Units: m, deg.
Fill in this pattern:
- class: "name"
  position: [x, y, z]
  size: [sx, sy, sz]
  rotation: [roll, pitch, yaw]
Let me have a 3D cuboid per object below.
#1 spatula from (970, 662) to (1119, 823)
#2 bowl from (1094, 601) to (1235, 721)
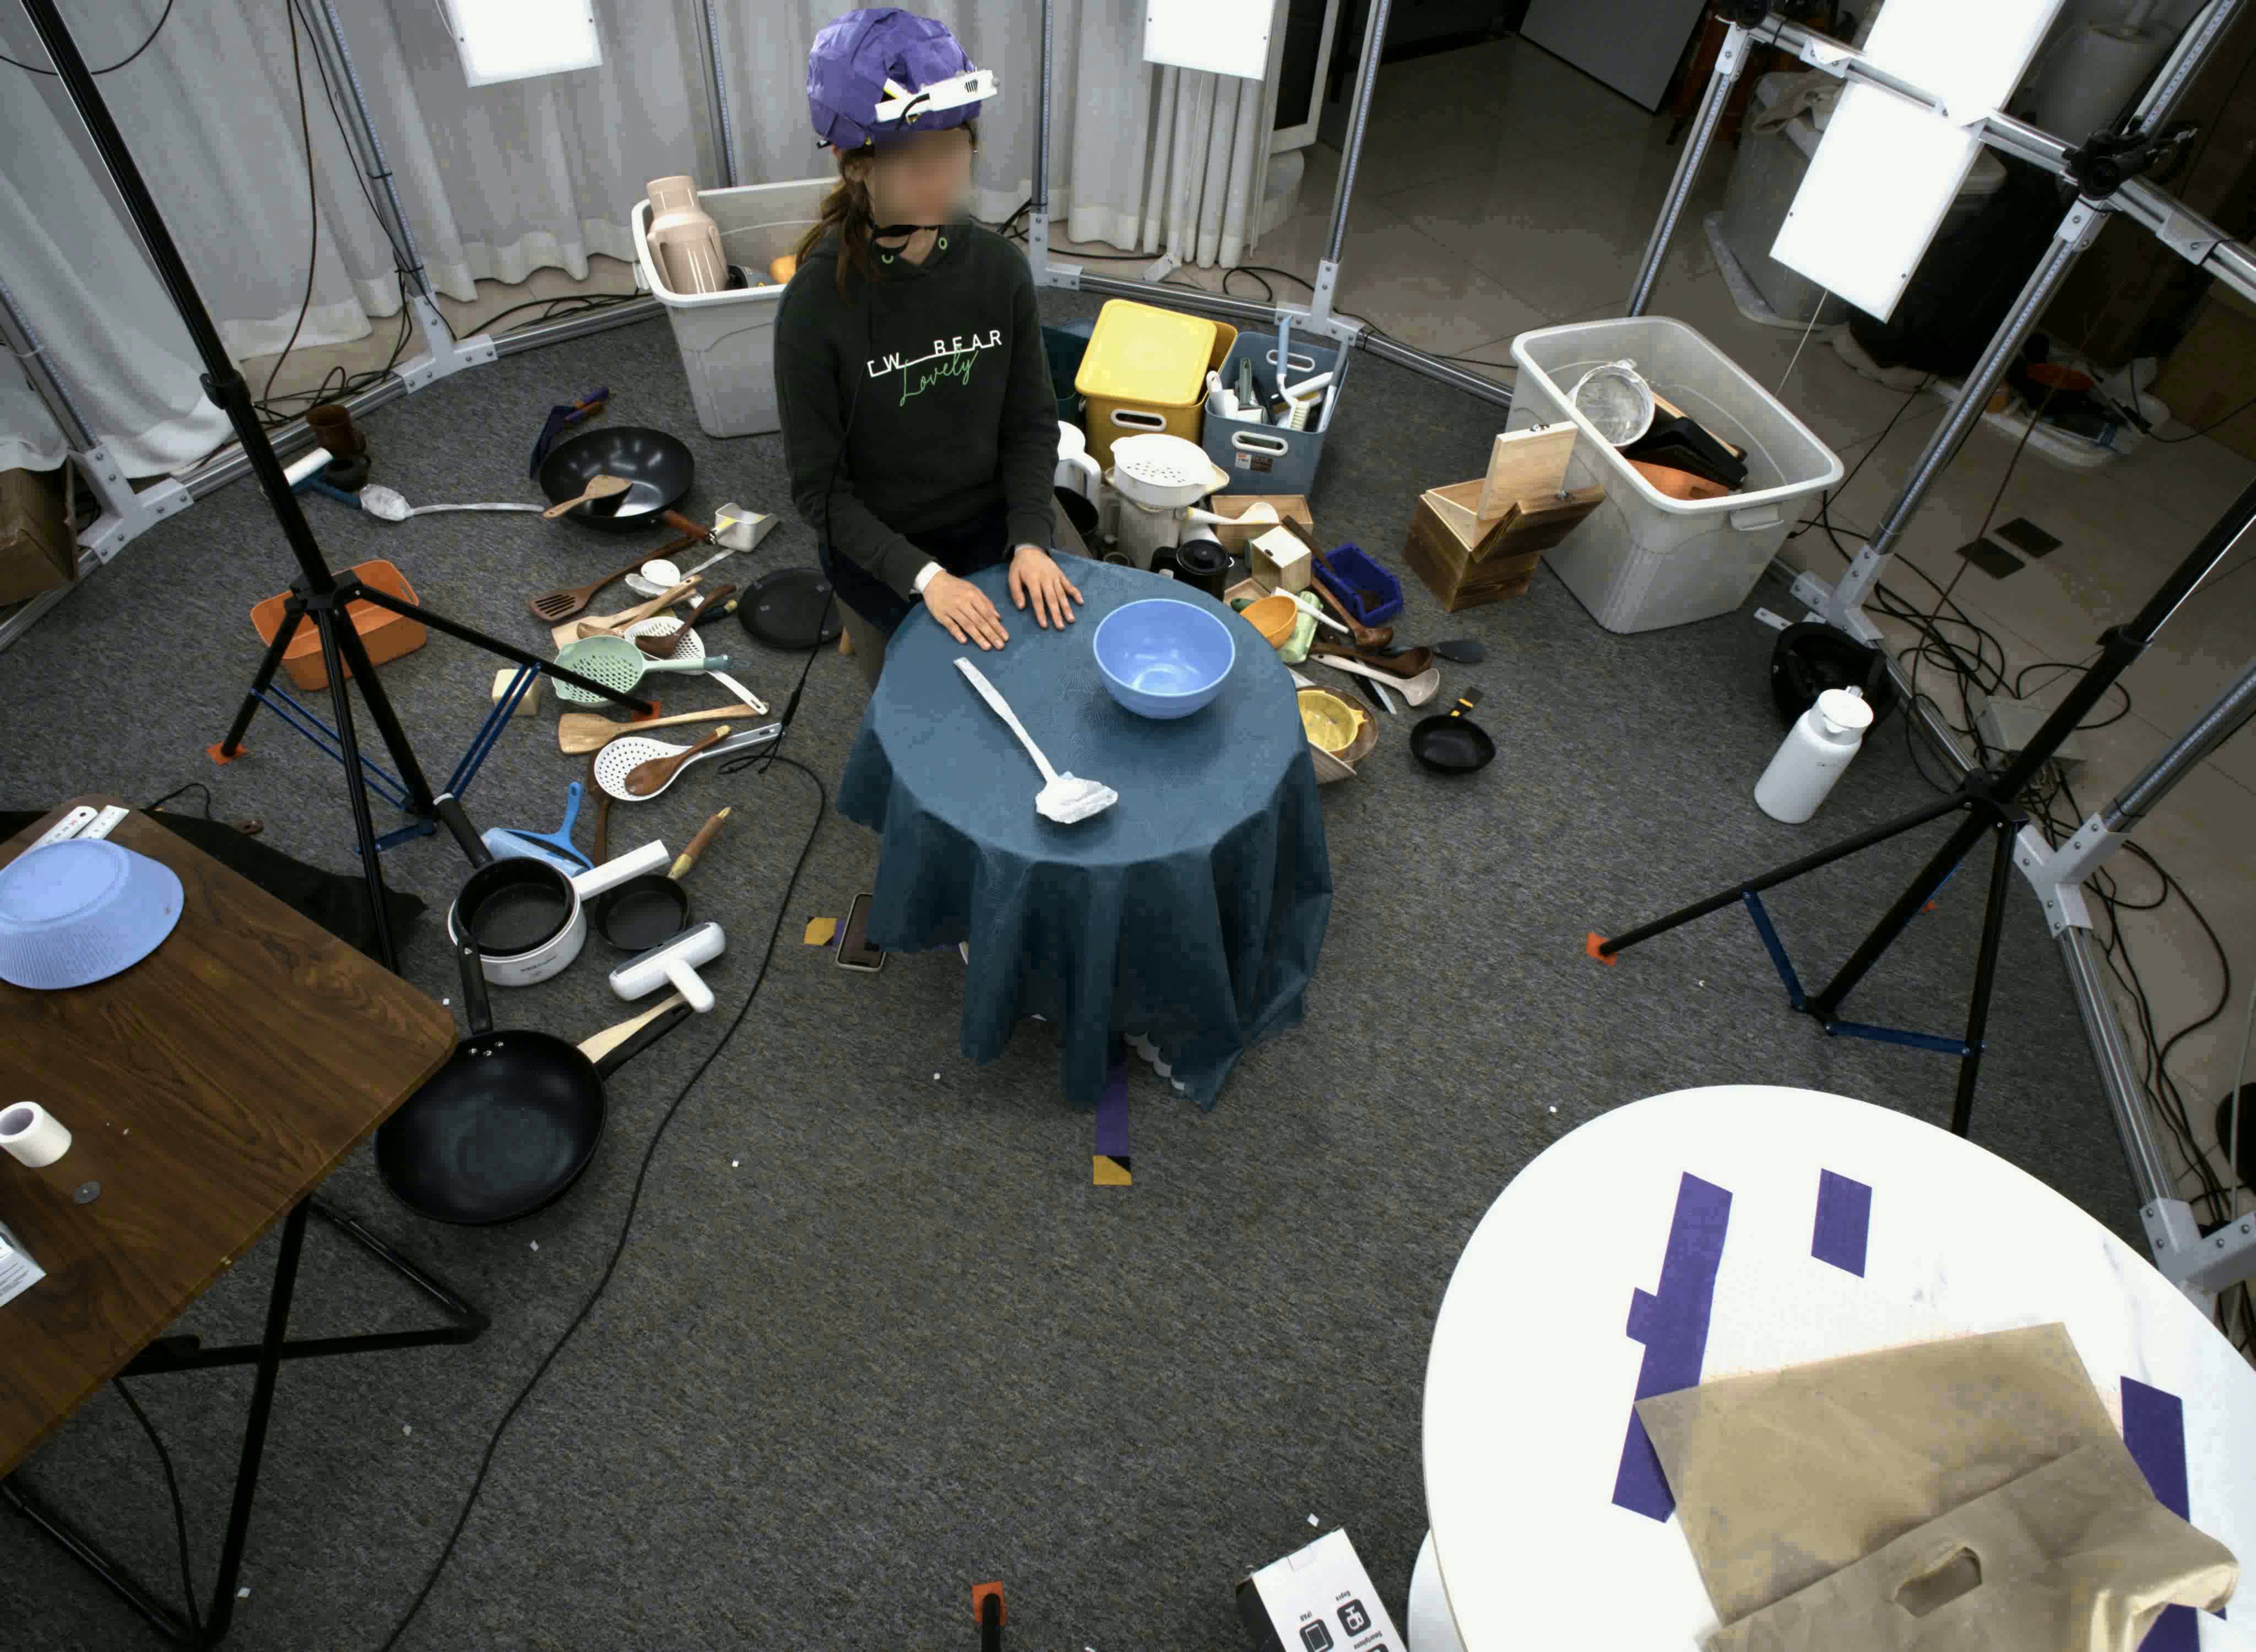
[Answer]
- class: "spatula"
  position: [-0.137, -0.125, 1.758]
  size: [0.099, 0.043, 0.372]
  rotation: [-23, 54, -20]
- class: "bowl"
  position: [0.048, -0.219, 1.816]
  size: [0.196, 0.093, 0.201]
  rotation: [1, 50, -2]
